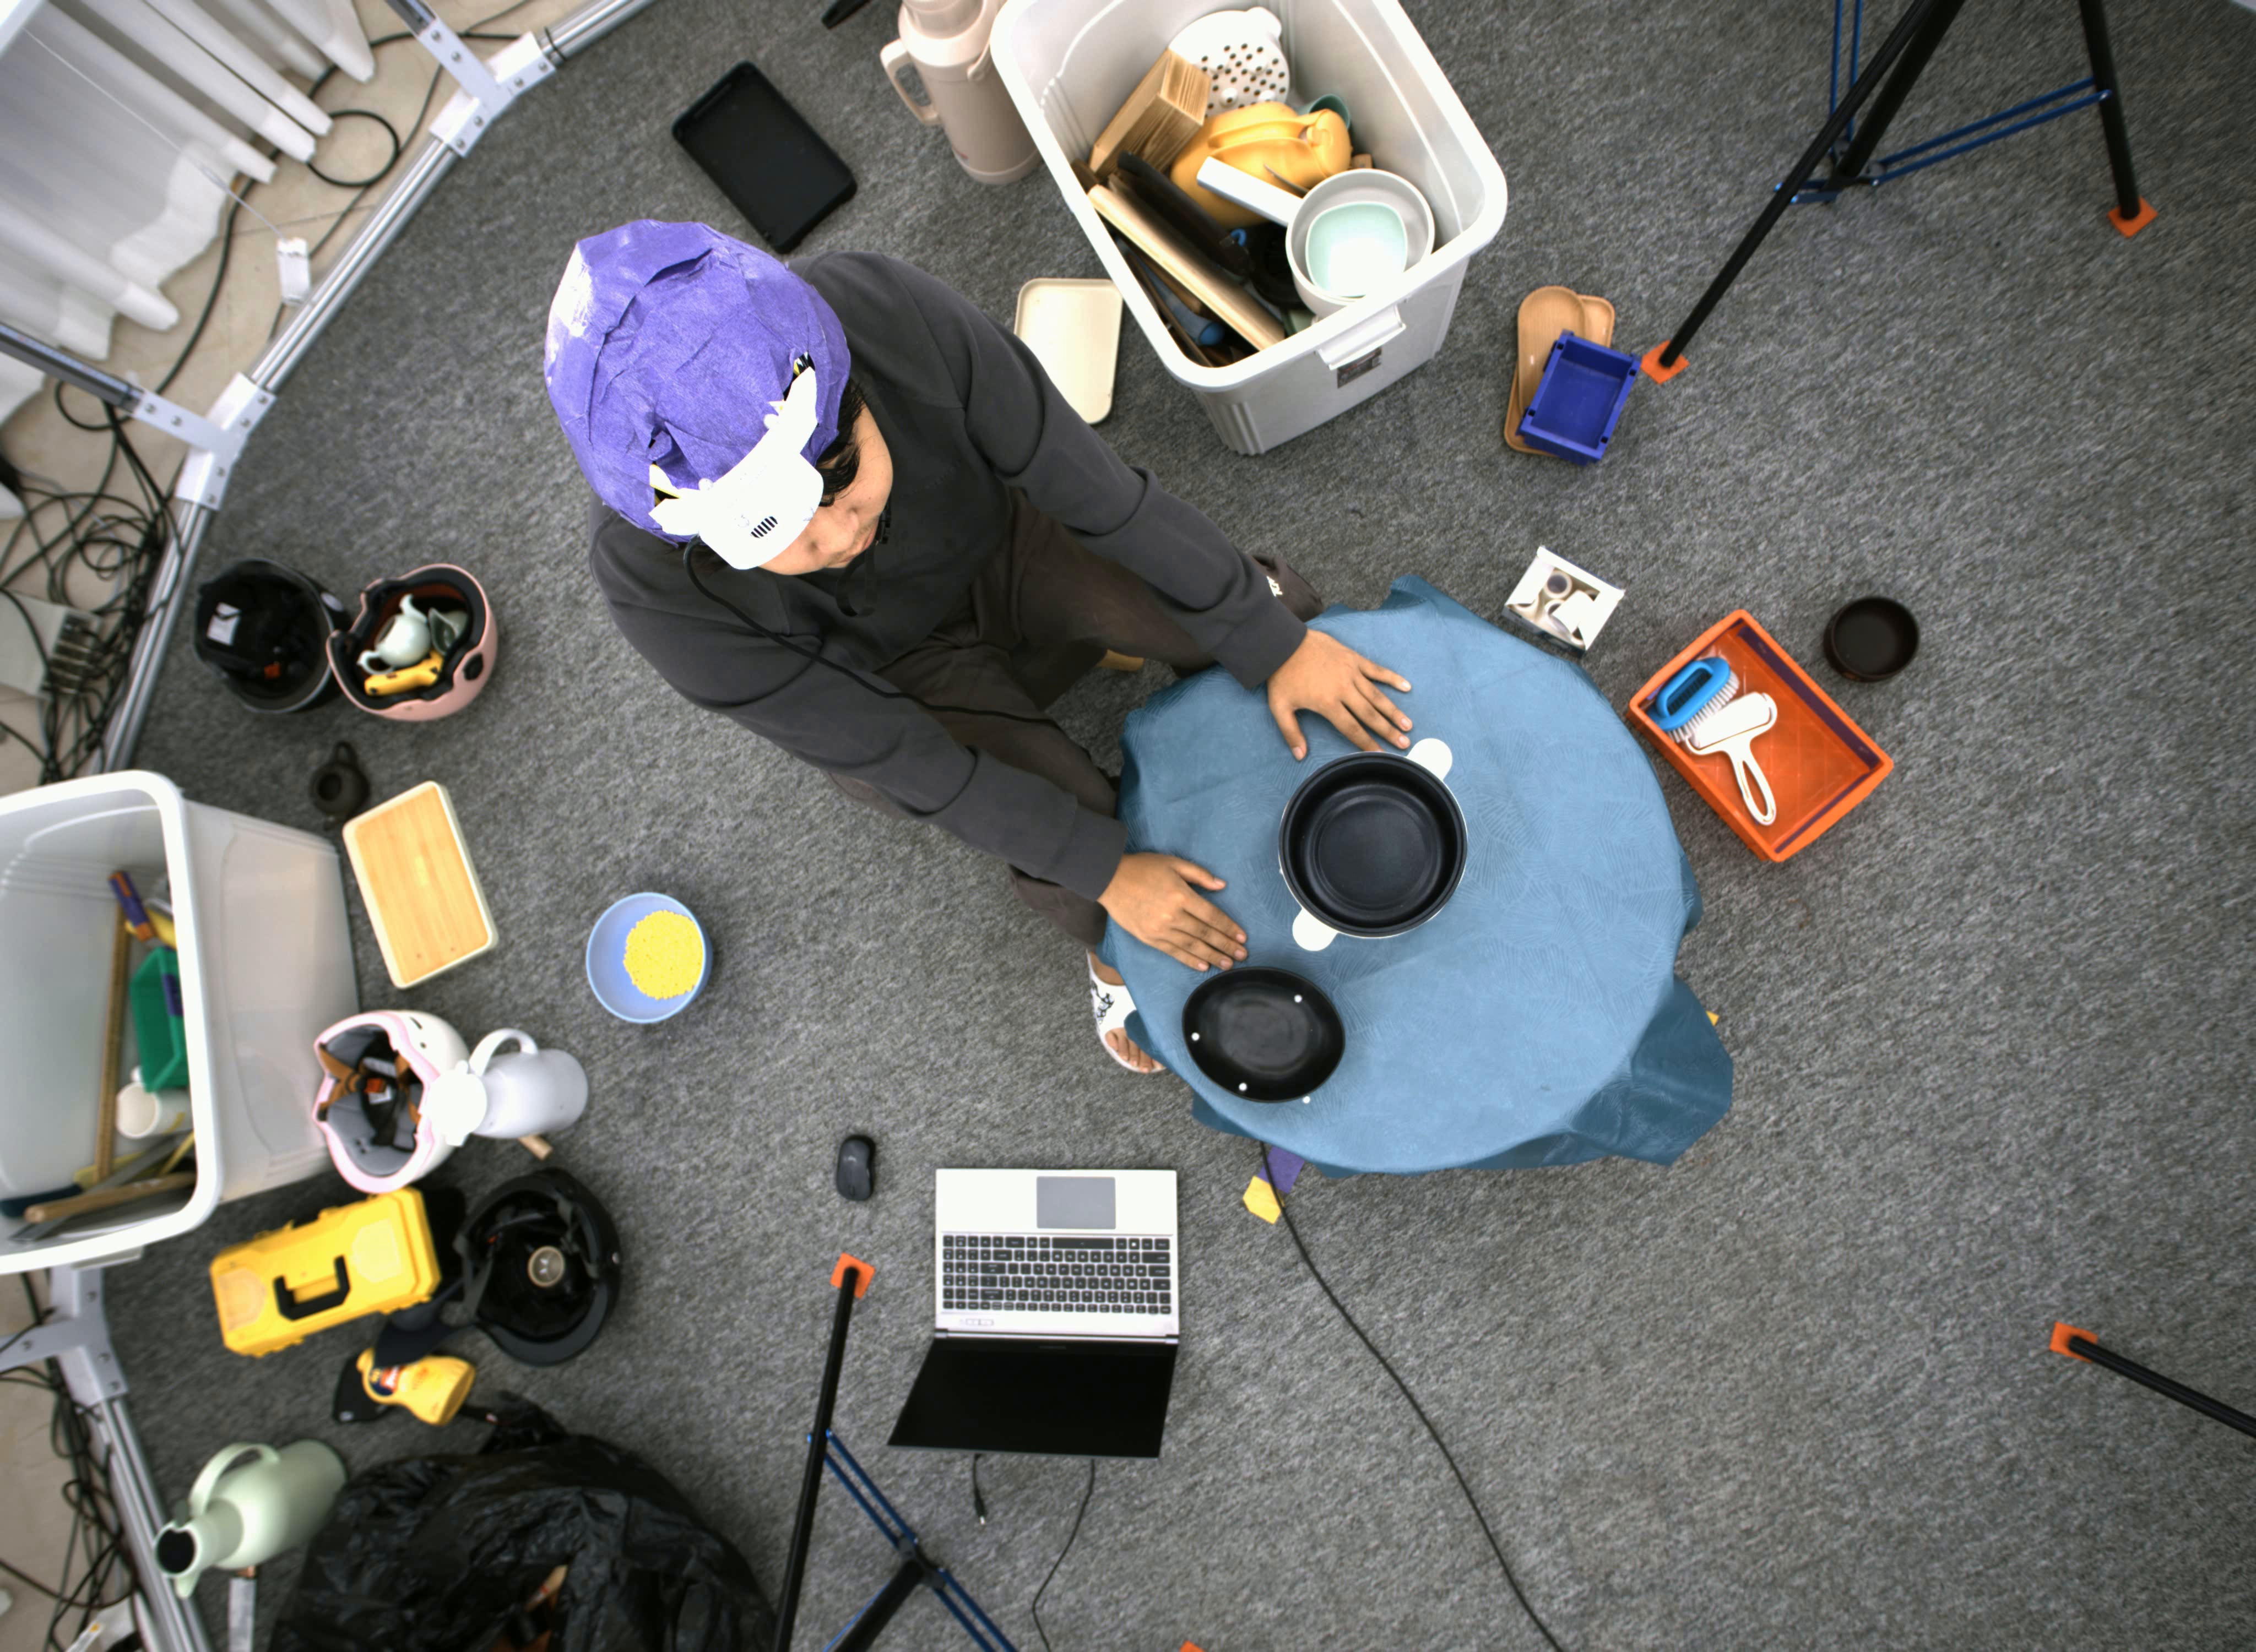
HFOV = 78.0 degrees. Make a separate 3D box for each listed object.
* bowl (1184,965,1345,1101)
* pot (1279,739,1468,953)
[{"bbox_3d":[0.142,0.213,1.445,0.170,0.067,0.137,11,88,13],"label":"bowl"},{"bbox_3d":[0.242,0.022,1.399,0.190,0.143,0.240,34,91,8],"label":"pot"}]
